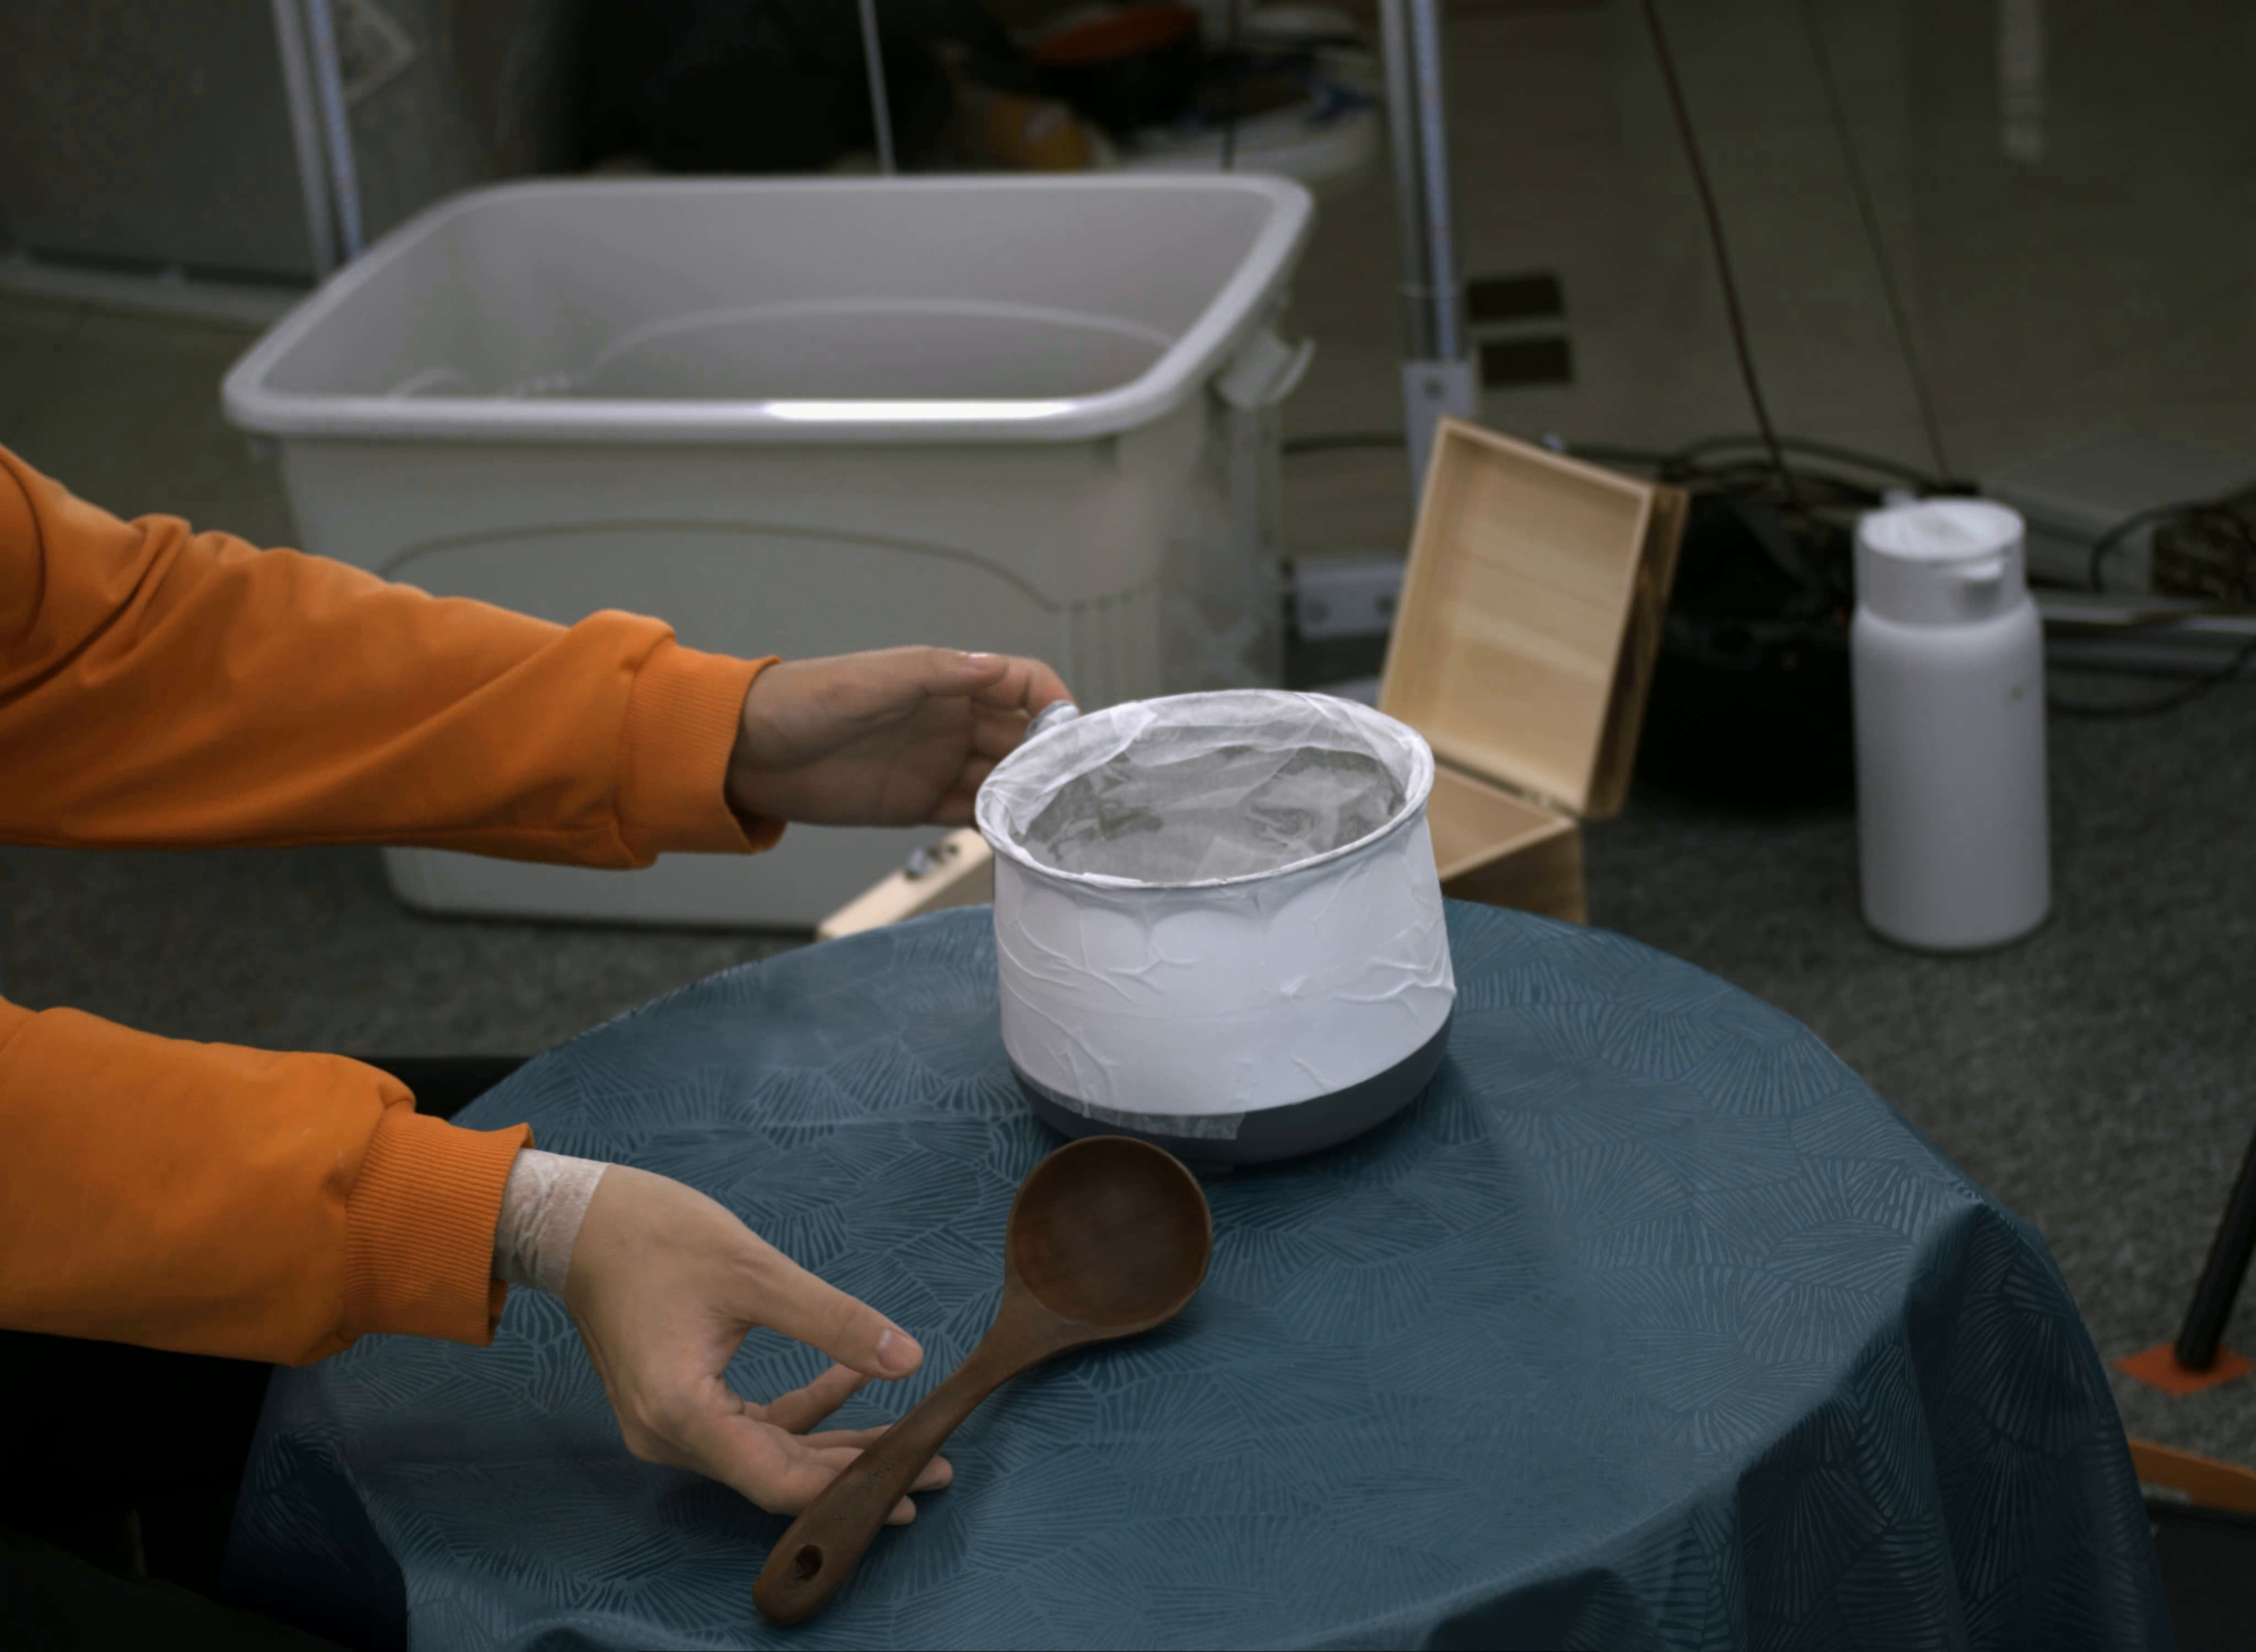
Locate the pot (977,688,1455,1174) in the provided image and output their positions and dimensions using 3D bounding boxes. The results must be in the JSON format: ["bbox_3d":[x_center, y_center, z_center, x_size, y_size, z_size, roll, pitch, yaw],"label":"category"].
[{"bbox_3d":[0.019,0.033,2.203,0.177,0.139,0.231,-22,30,-30],"label":"pot"}]

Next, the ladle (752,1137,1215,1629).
[{"bbox_3d":[-0.052,0.191,1.977,0.076,0.066,0.257,31,36,14],"label":"ladle"}]
